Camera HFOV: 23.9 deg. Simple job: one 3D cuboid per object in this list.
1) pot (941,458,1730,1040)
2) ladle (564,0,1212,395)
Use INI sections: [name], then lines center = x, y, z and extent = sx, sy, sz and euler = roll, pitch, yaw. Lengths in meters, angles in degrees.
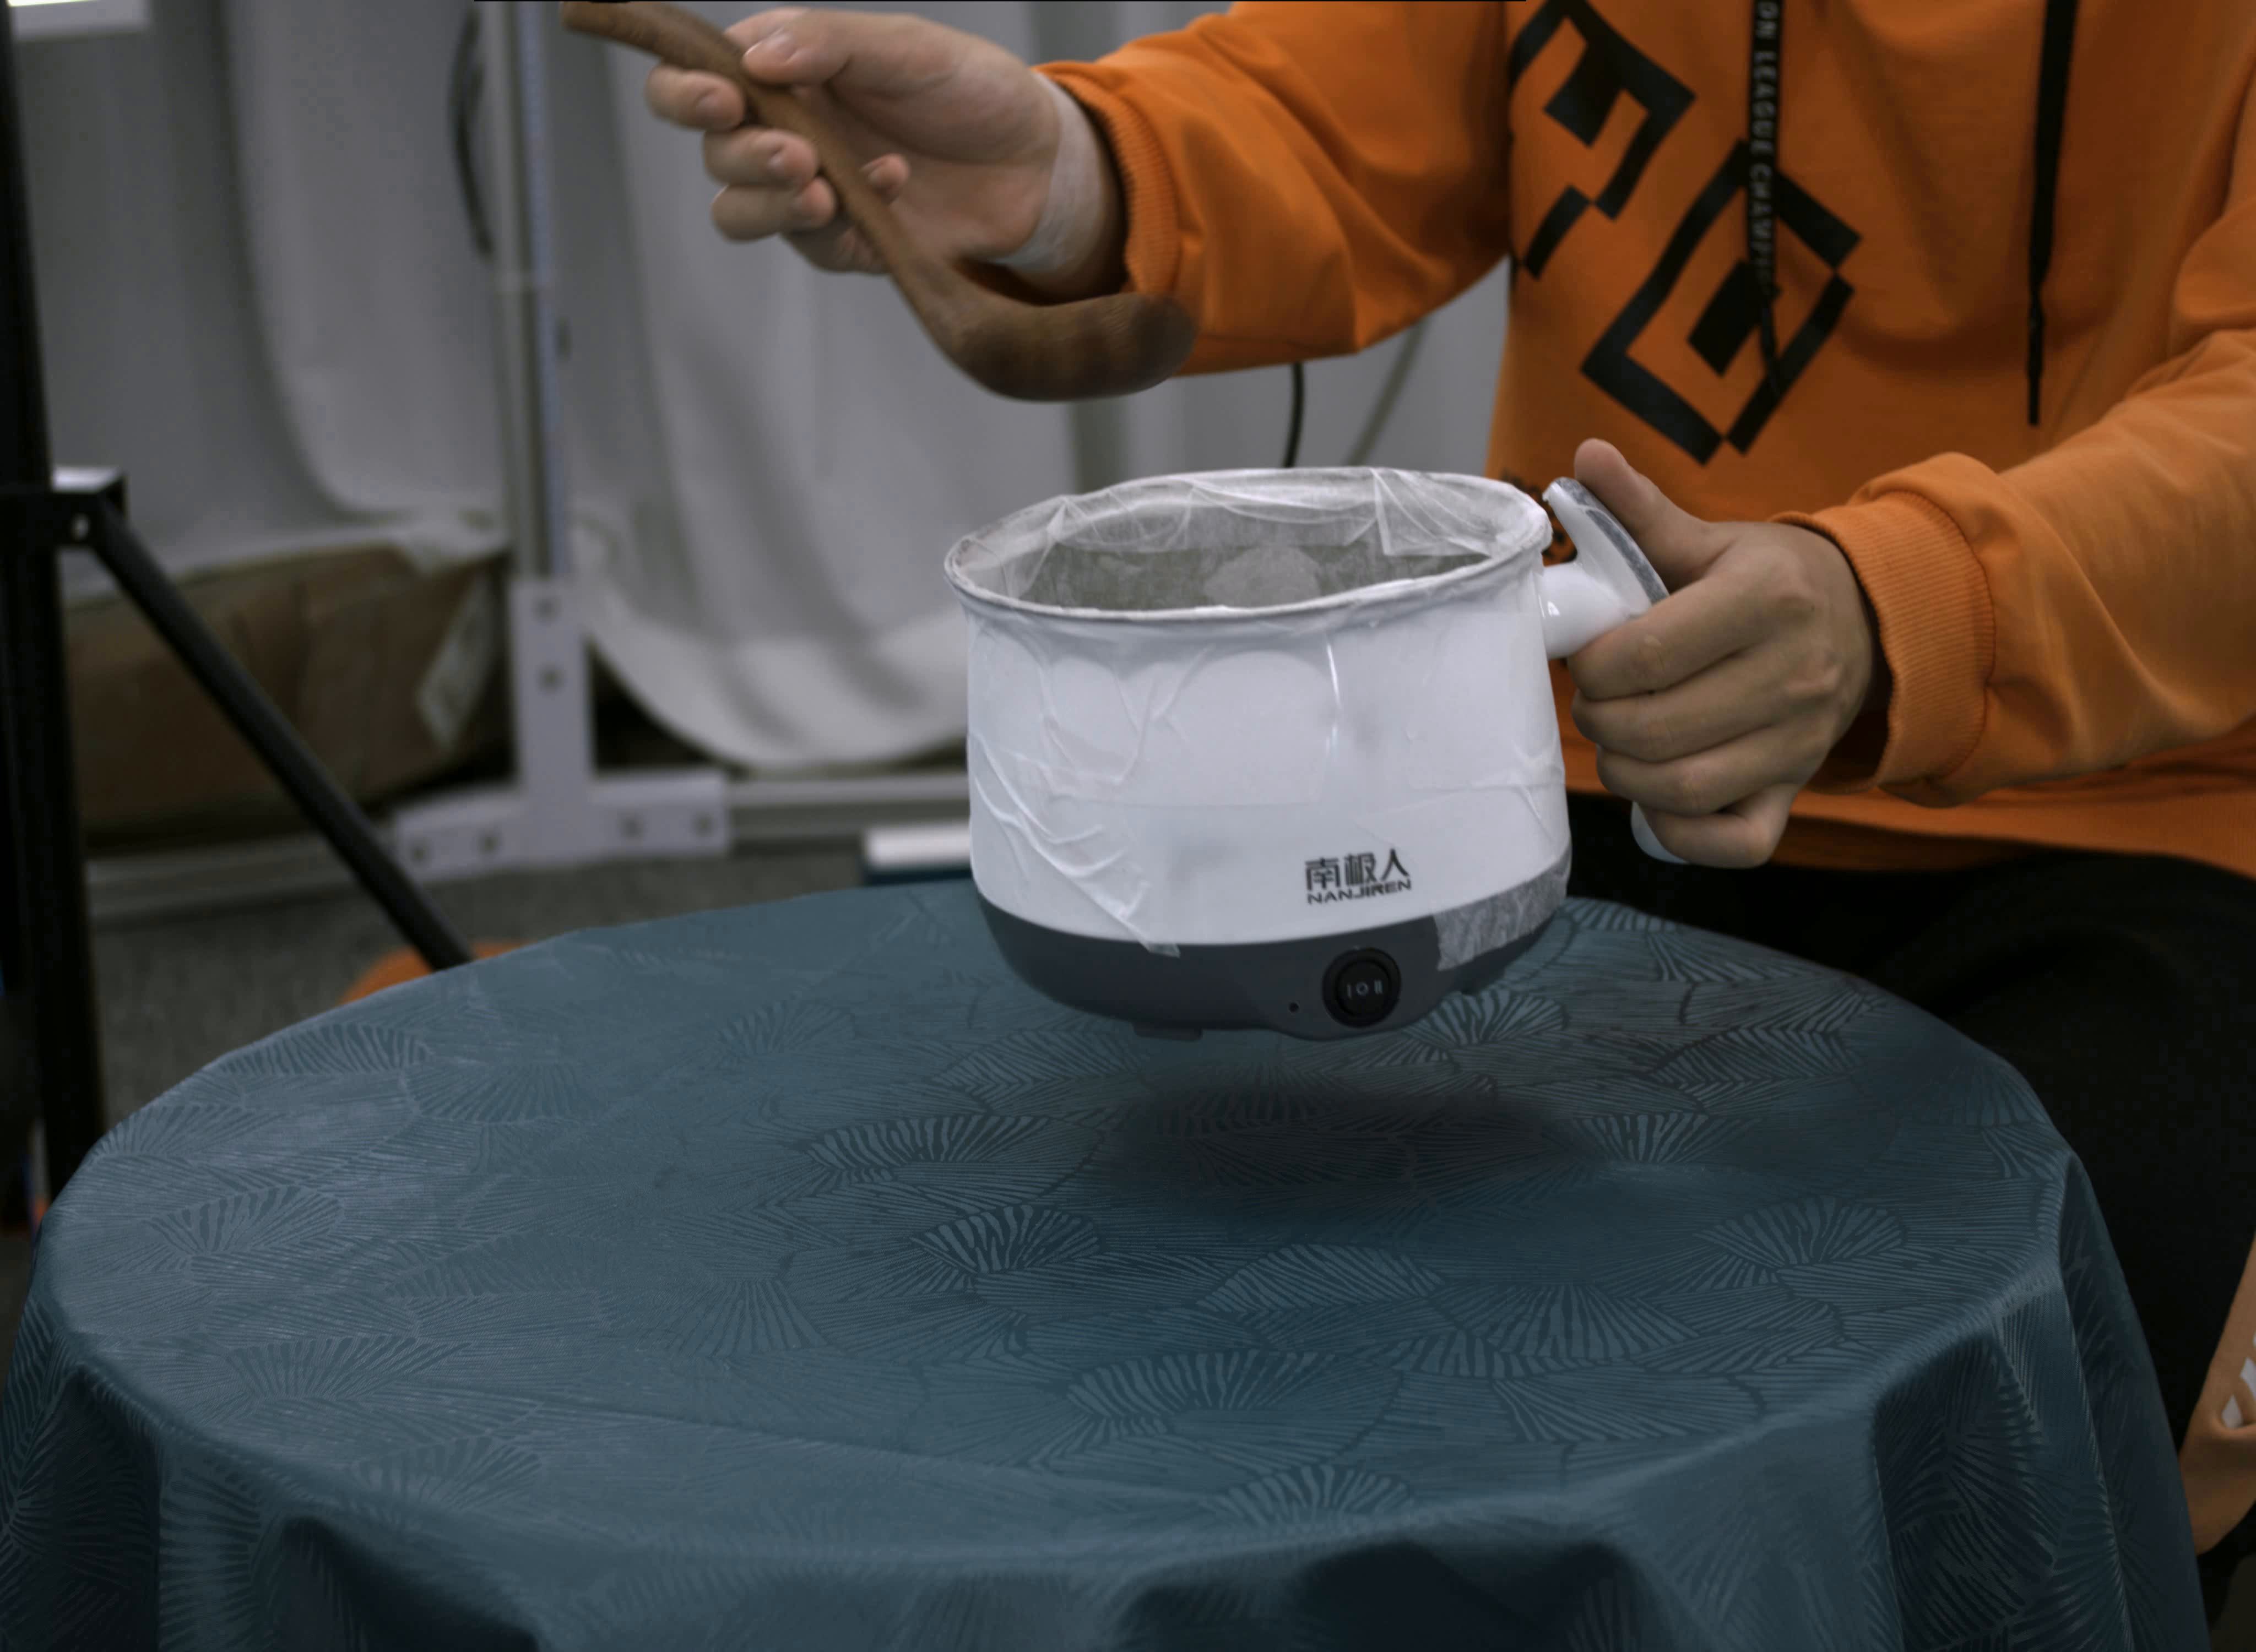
[pot]
center = 0.065, -0.029, 1.573
extent = 0.230, 0.136, 0.181
euler = -9, 17, -14
[ladle]
center = -0.076, -0.205, 1.600
extent = 0.074, 0.065, 0.265
euler = -4, 40, -50
